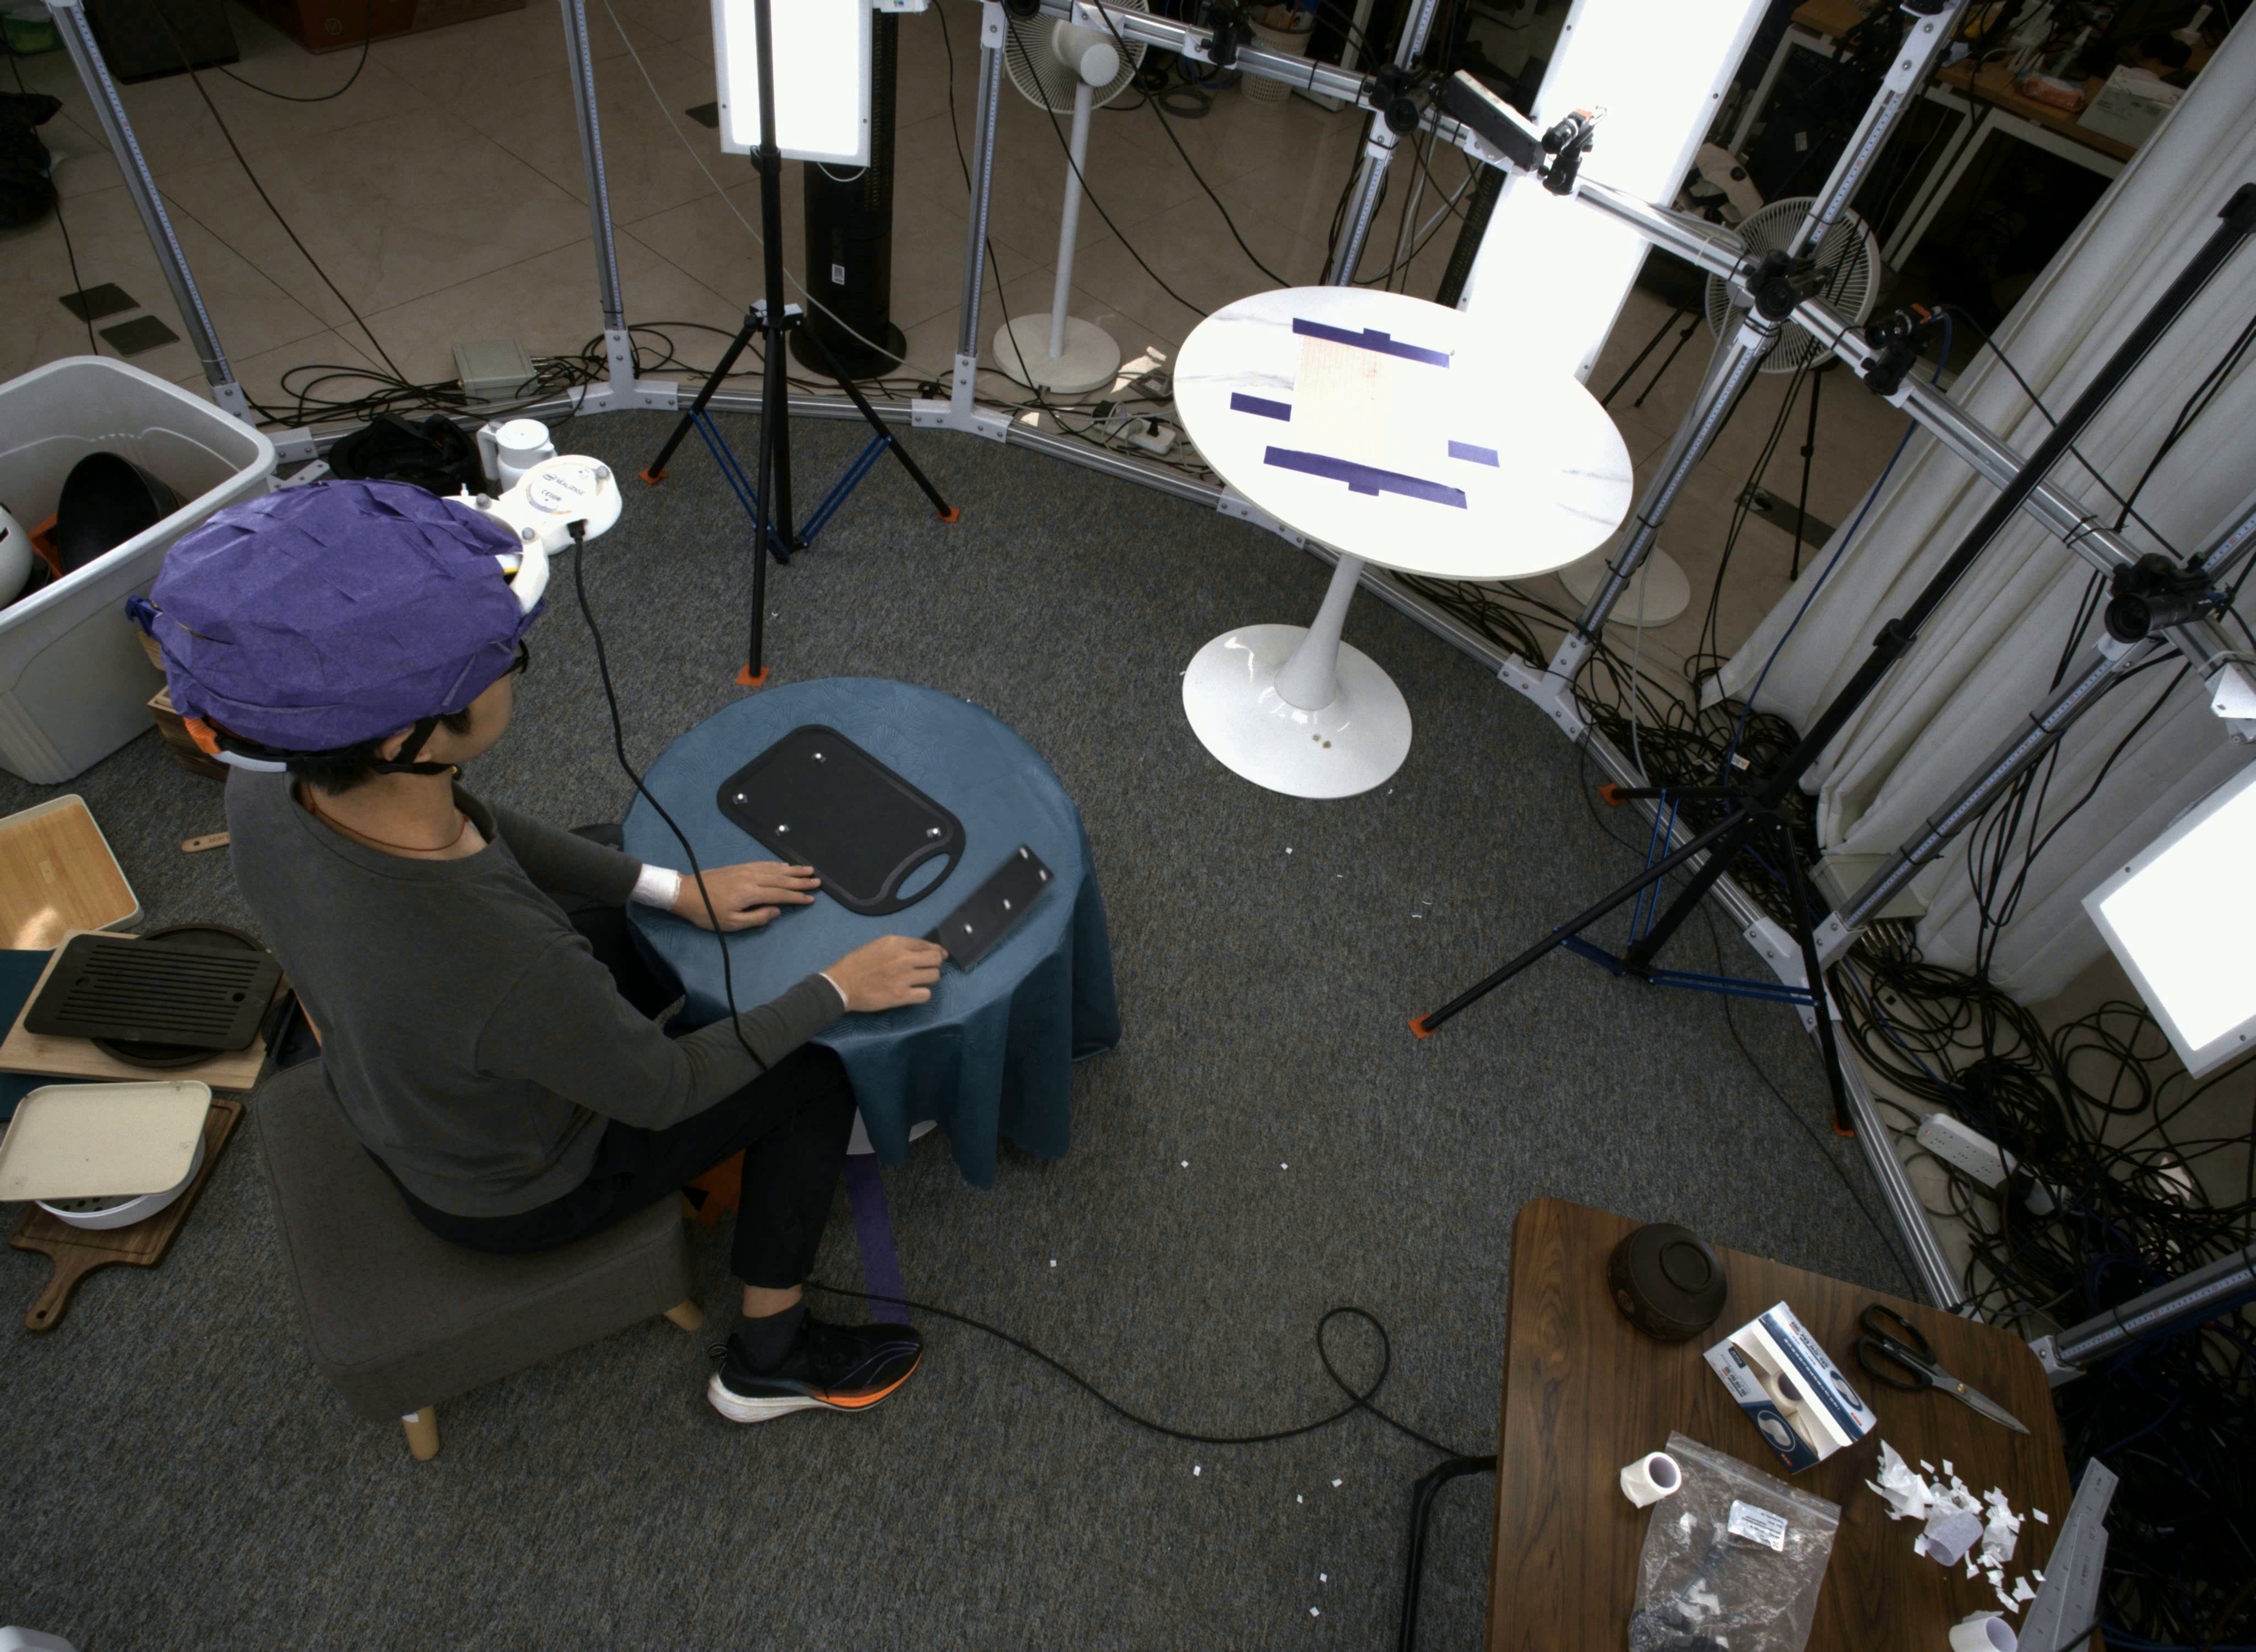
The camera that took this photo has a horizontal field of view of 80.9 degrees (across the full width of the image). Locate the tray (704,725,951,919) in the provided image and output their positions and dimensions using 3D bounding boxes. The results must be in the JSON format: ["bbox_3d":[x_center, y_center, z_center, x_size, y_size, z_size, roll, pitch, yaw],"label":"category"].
[{"bbox_3d":[-0.397,-0.009,1.745,0.319,0.010,0.211,35,54,12],"label":"tray"}]

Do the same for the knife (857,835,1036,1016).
[{"bbox_3d":[-0.230,0.127,1.650,0.081,0.021,0.302,48,61,-3],"label":"knife"}]
